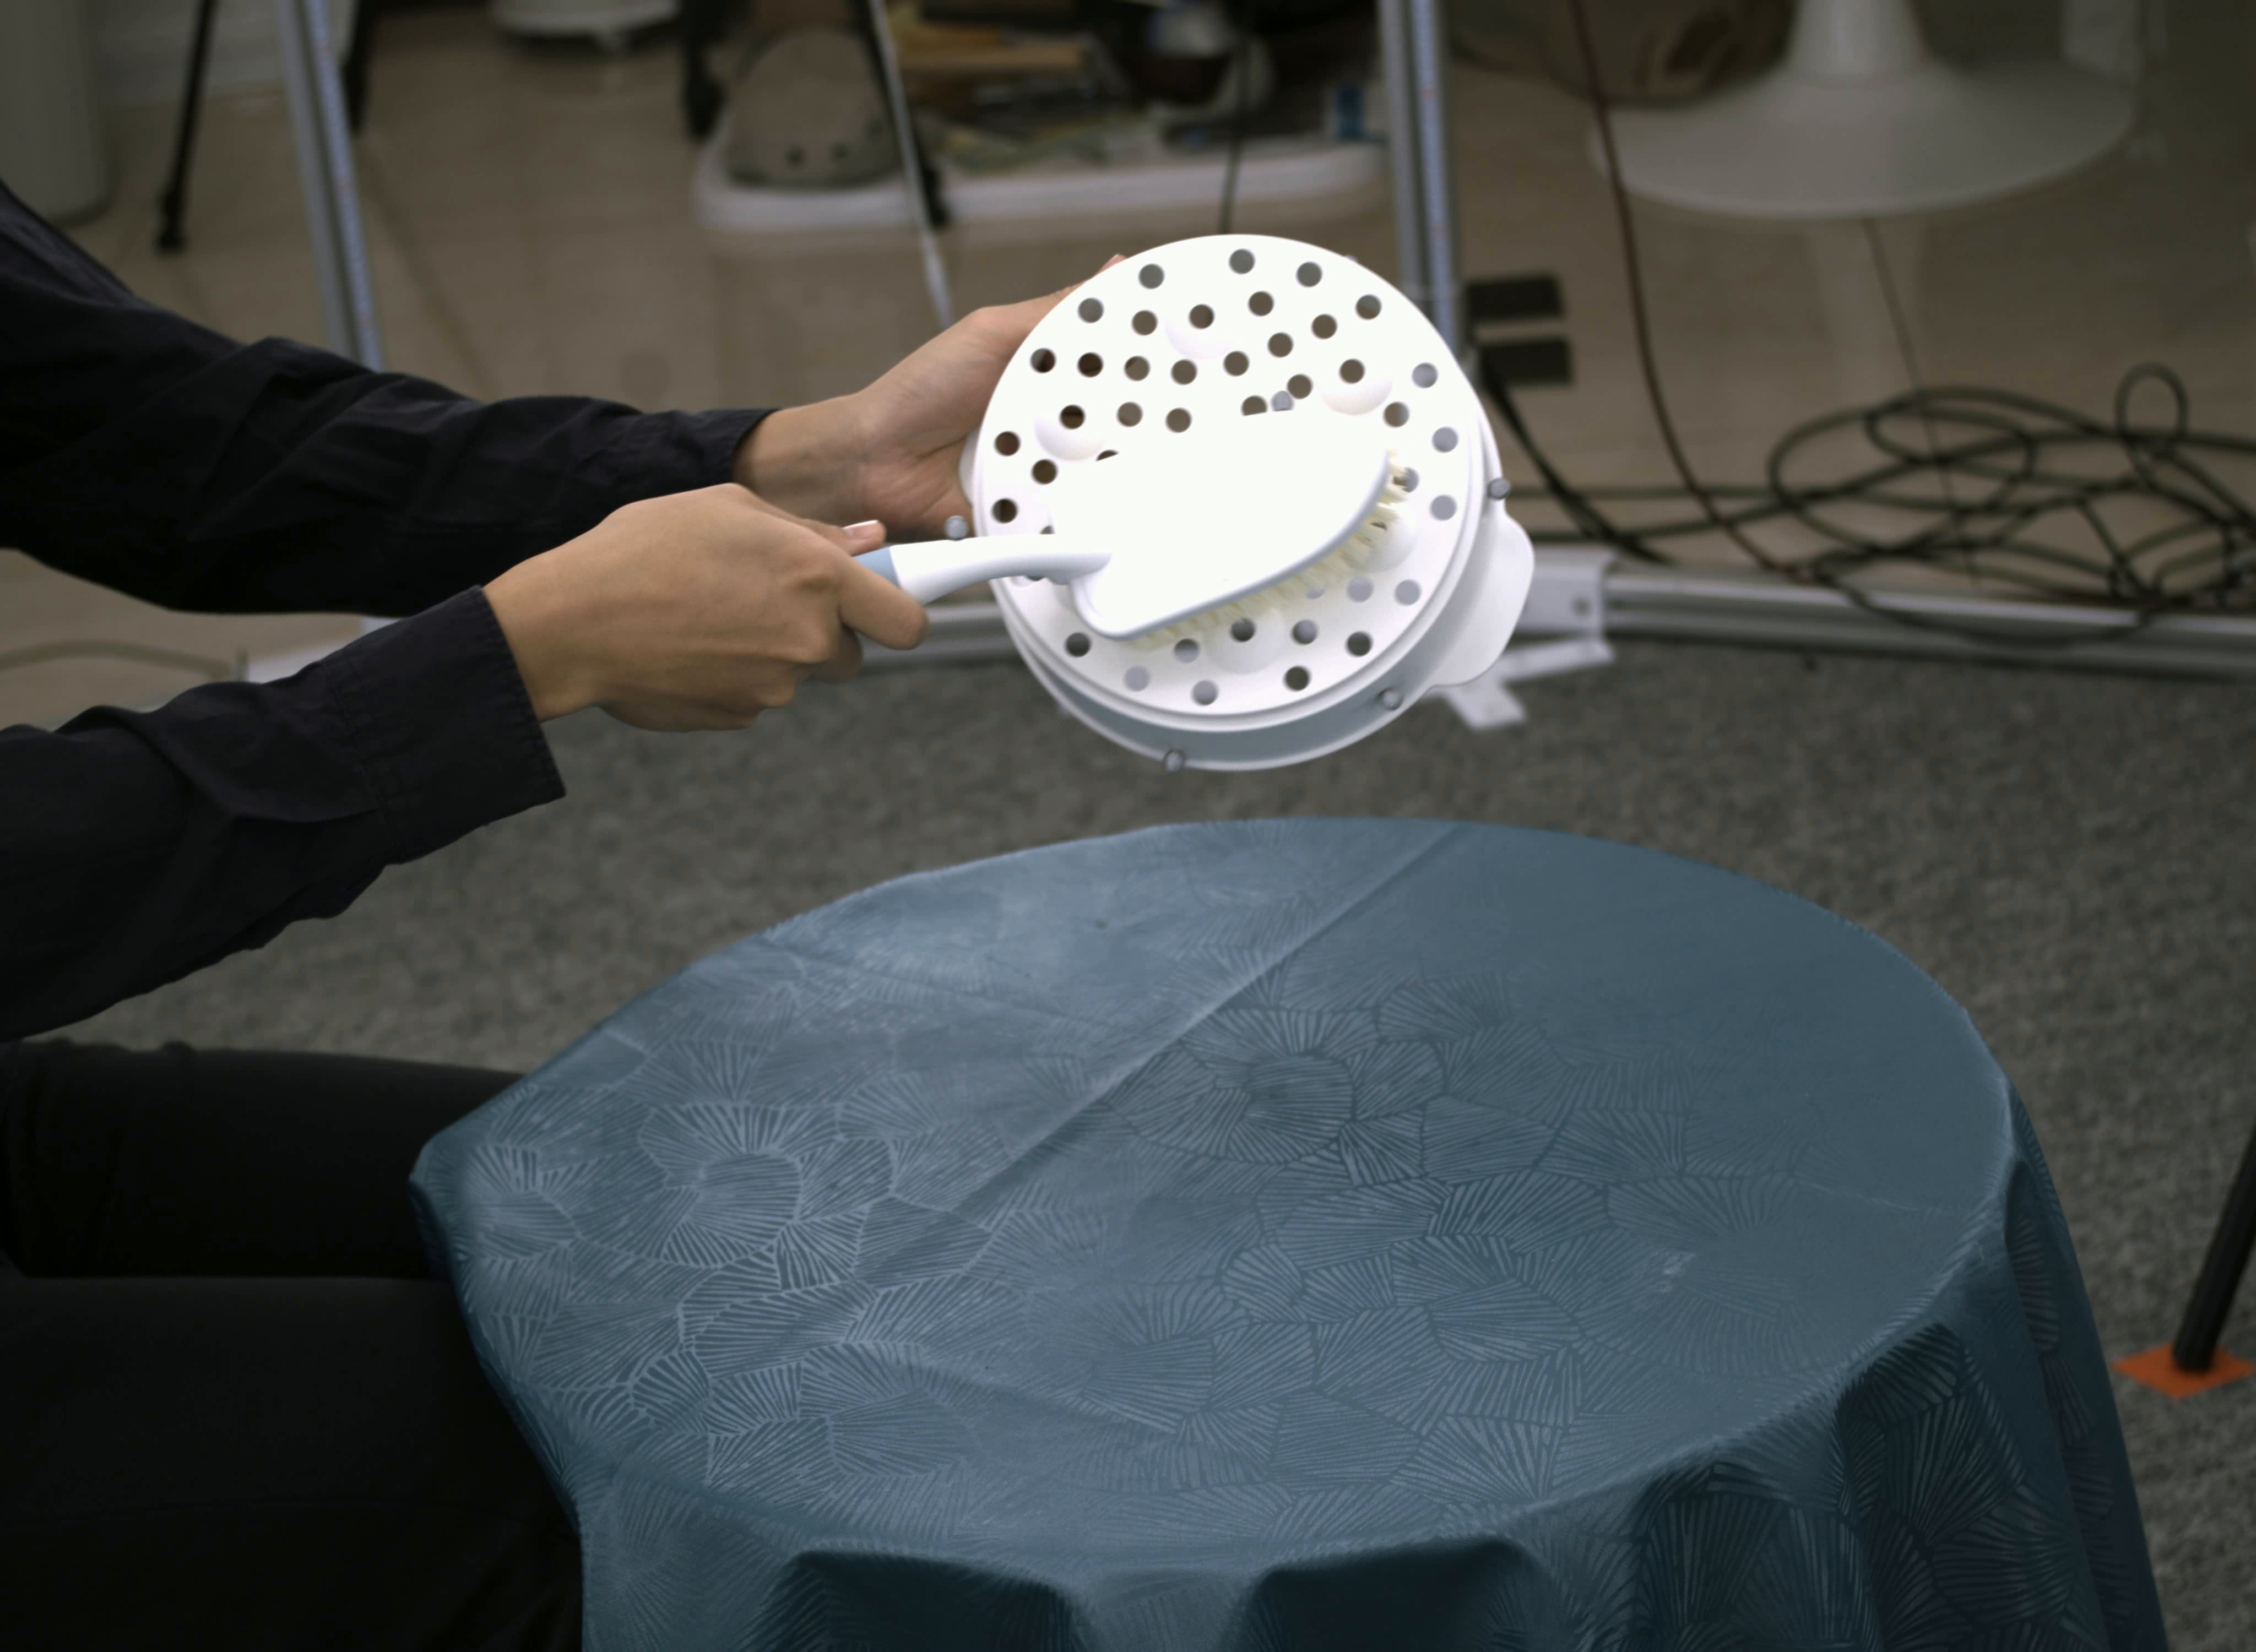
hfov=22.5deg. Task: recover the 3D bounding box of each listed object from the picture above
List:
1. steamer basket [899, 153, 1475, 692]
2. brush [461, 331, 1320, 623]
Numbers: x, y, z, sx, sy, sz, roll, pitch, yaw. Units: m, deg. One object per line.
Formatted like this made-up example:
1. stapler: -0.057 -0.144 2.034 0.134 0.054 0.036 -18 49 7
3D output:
1. steamer basket: 0.018 -0.155 2.151 0.229 0.201 0.070 21 -7 11
2. brush: -0.087 -0.124 2.100 0.325 0.086 0.081 -15 43 0
